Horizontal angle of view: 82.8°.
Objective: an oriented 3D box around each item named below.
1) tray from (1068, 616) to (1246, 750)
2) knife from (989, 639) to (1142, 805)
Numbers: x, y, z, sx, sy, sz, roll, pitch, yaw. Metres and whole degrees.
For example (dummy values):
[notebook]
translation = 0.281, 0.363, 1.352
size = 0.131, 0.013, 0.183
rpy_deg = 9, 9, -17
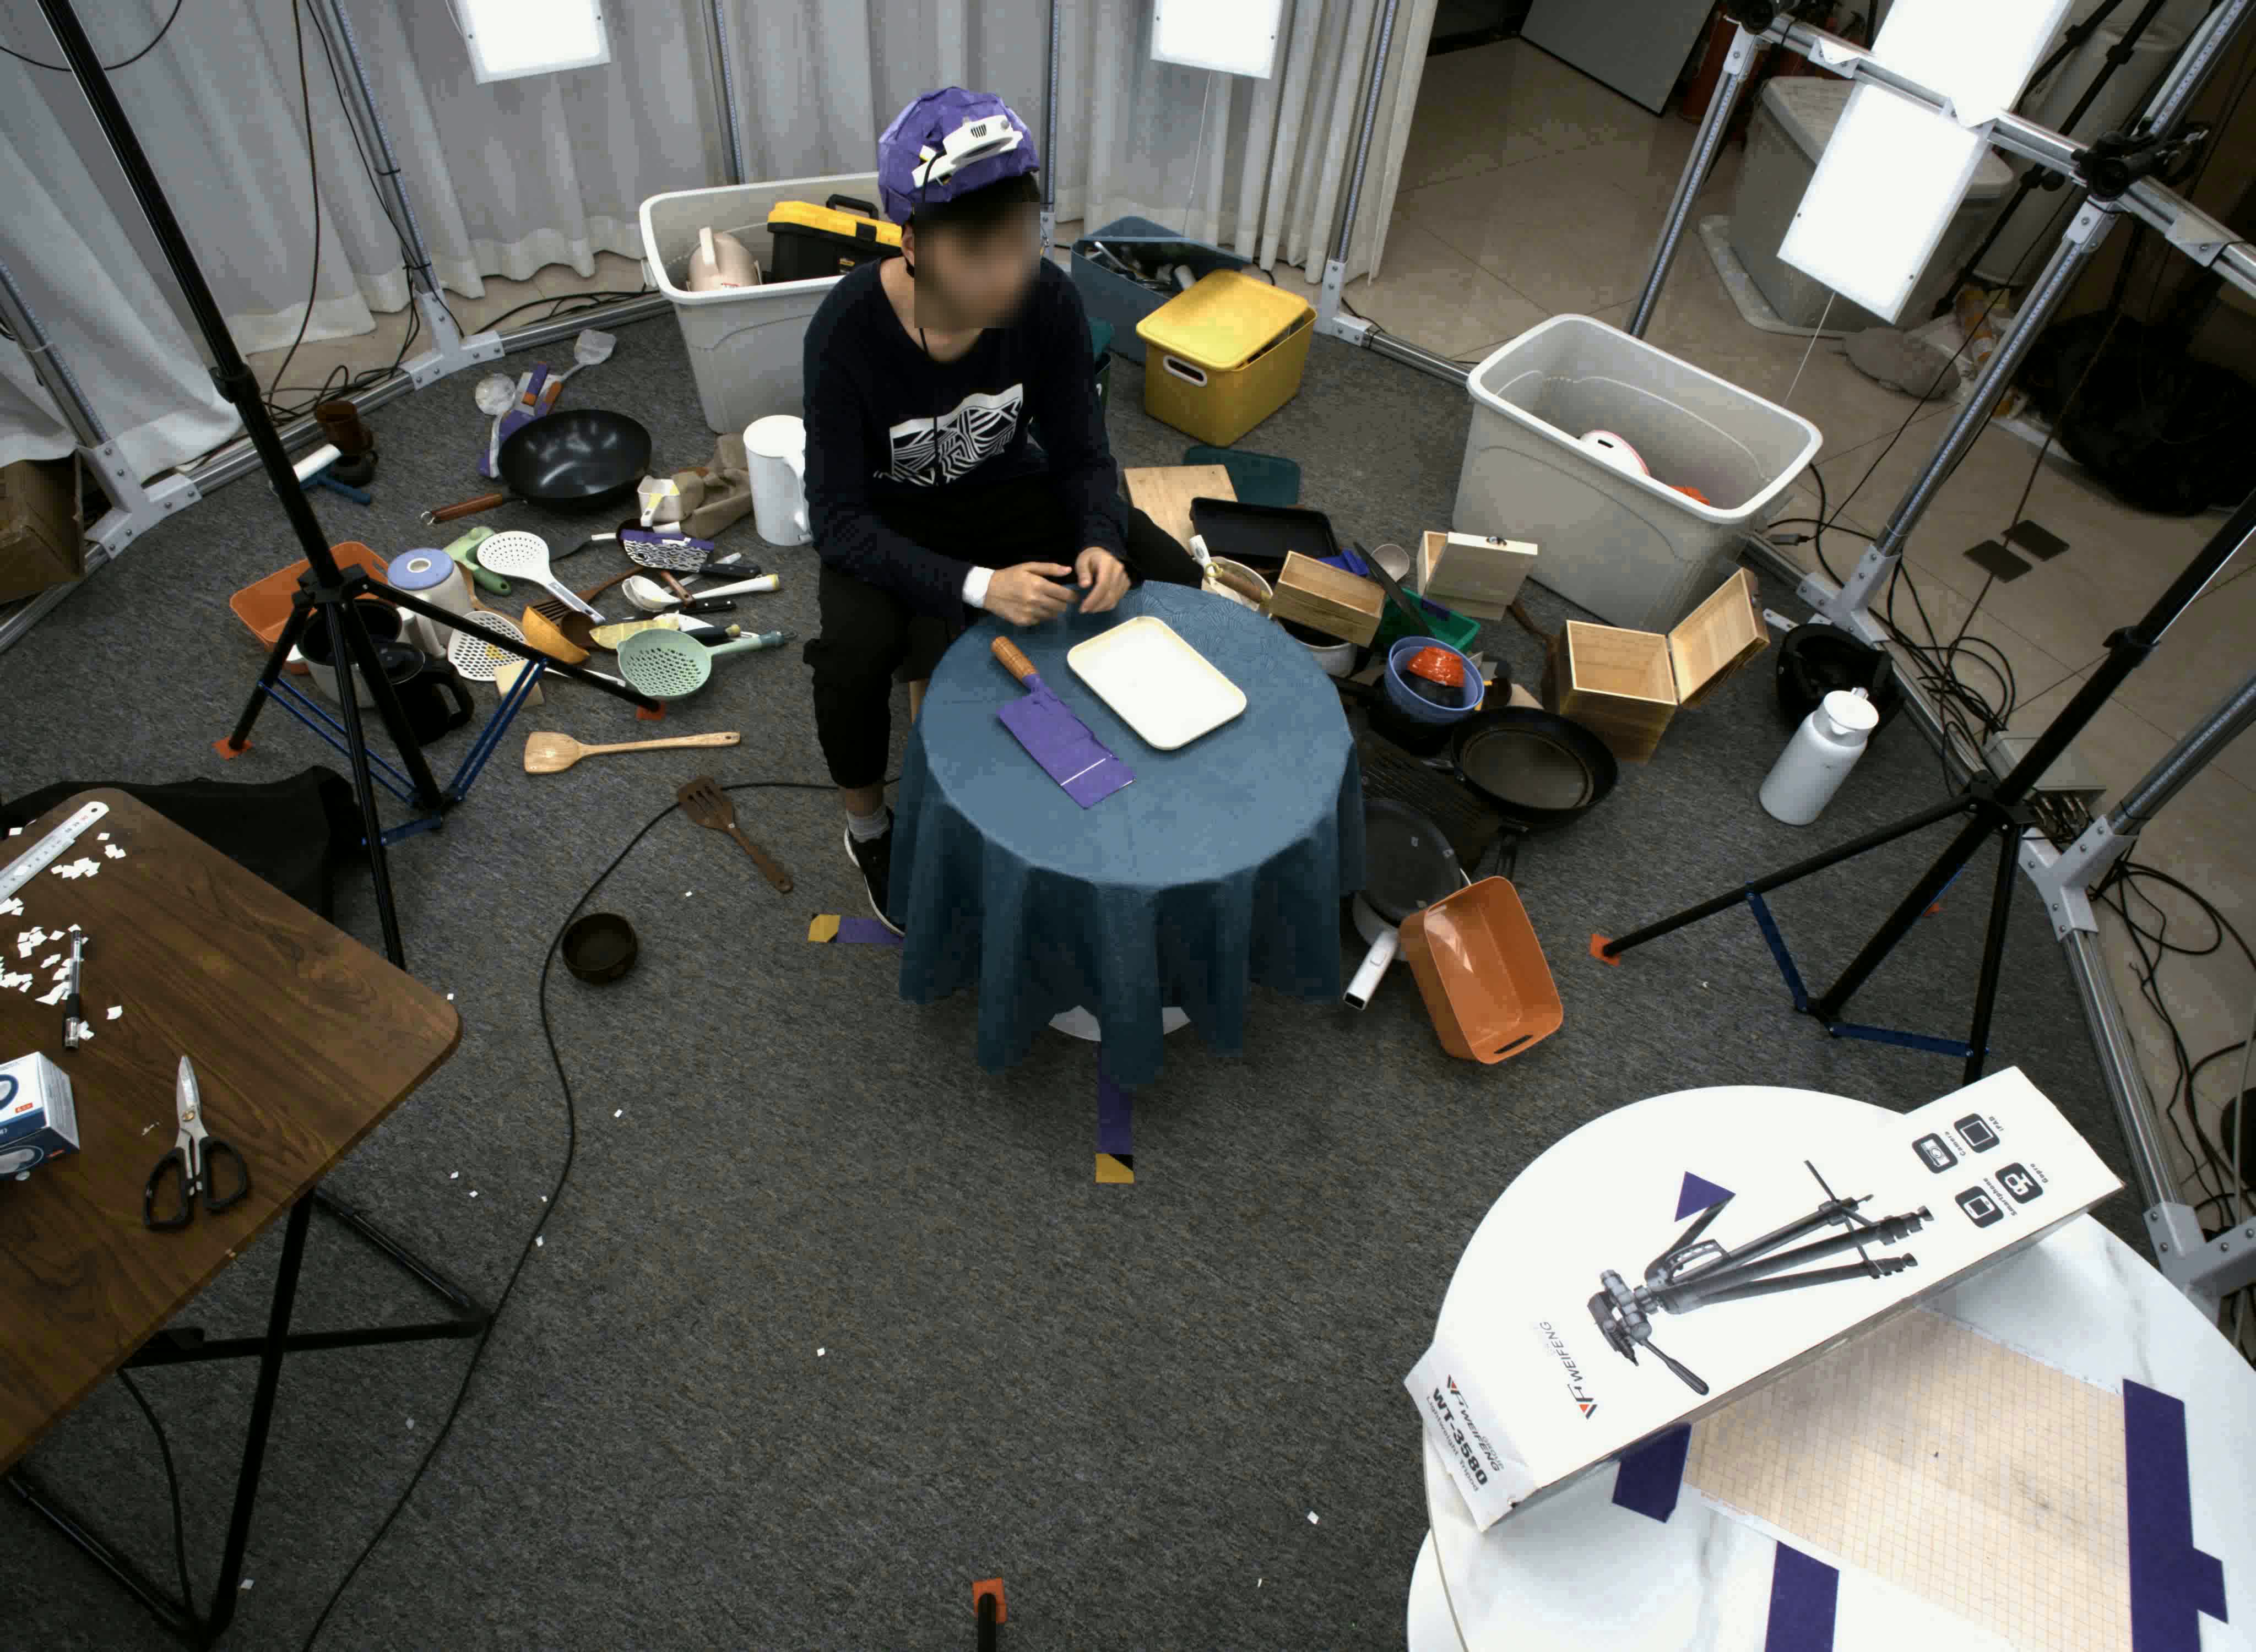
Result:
[tray]
translation = 0.040, -0.206, 1.837
size = 0.172, 0.017, 0.244
rpy_deg = -29, 57, -25
[knife]
translation = -0.115, -0.148, 1.770
size = 0.104, 0.031, 0.321
rpy_deg = -29, 57, -26
